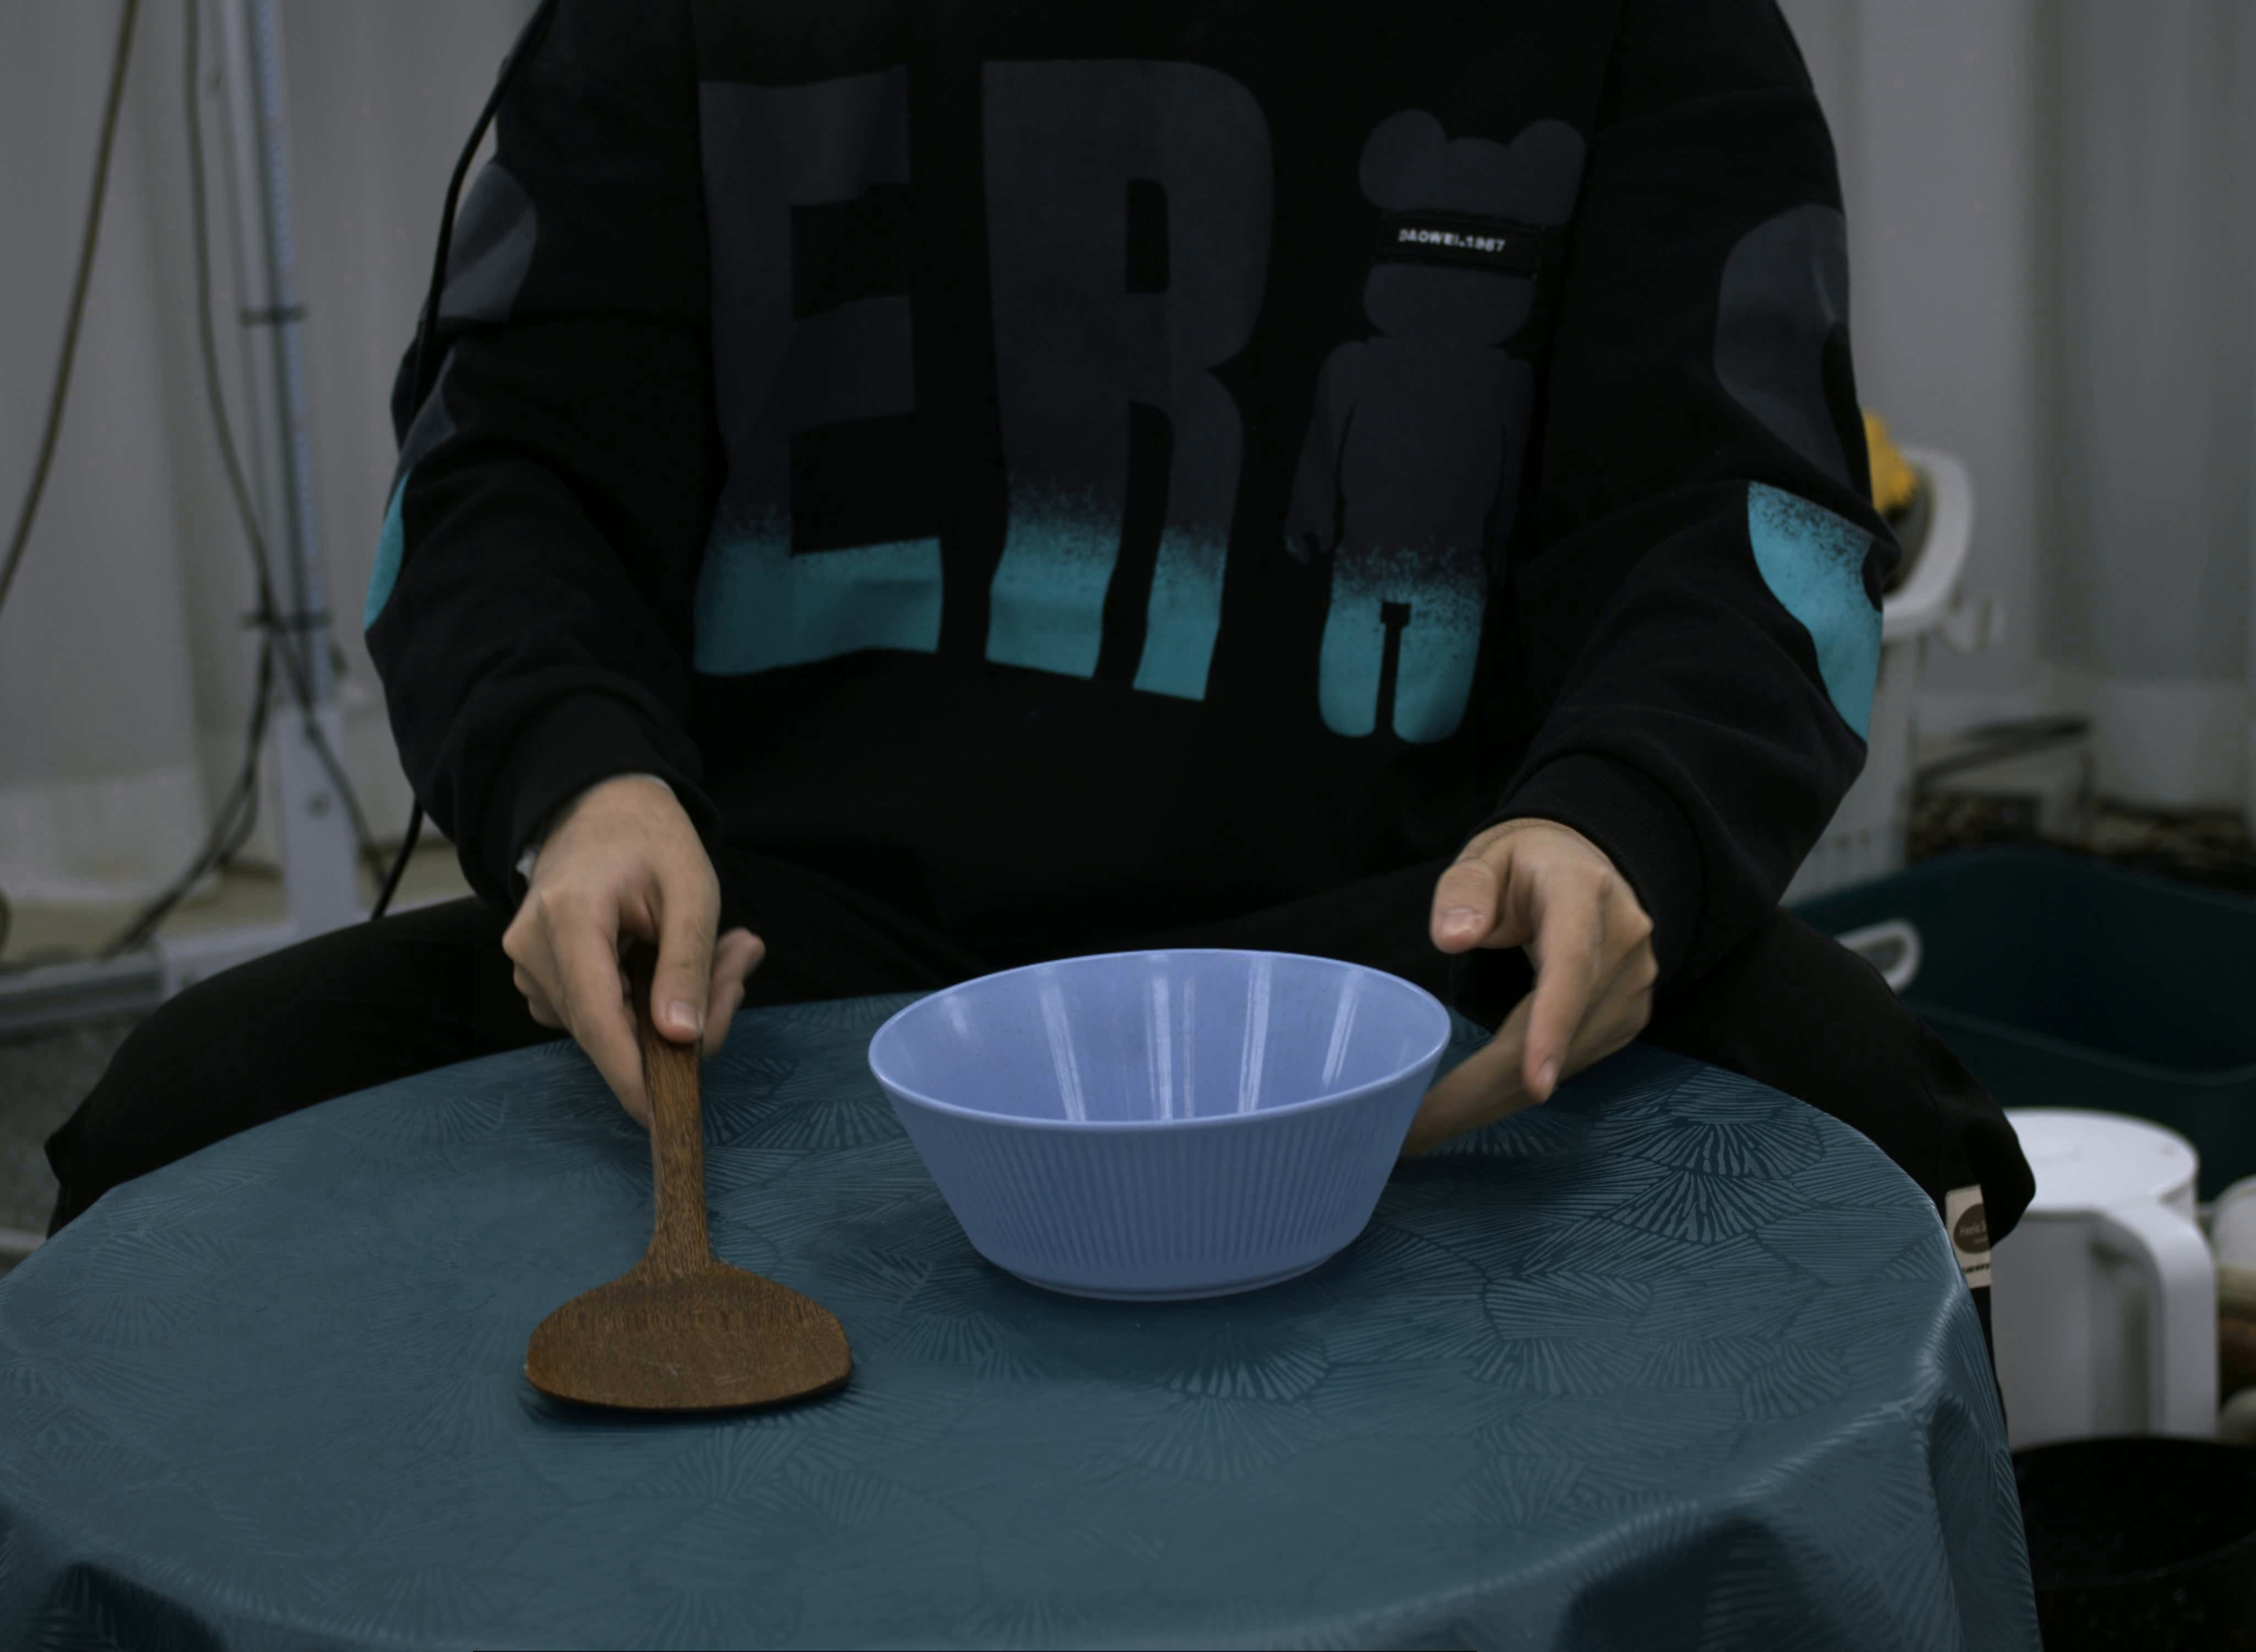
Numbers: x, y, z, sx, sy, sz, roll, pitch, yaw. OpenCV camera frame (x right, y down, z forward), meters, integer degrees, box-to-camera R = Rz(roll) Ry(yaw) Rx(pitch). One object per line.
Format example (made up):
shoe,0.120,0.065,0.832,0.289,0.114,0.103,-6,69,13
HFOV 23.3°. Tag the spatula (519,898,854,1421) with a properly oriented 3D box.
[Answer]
spatula,-0.143,0.096,1.717,0.096,0.015,0.390,-1,22,-6

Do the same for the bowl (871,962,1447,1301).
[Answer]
bowl,0.011,0.095,1.656,0.175,0.070,0.177,-3,13,0
